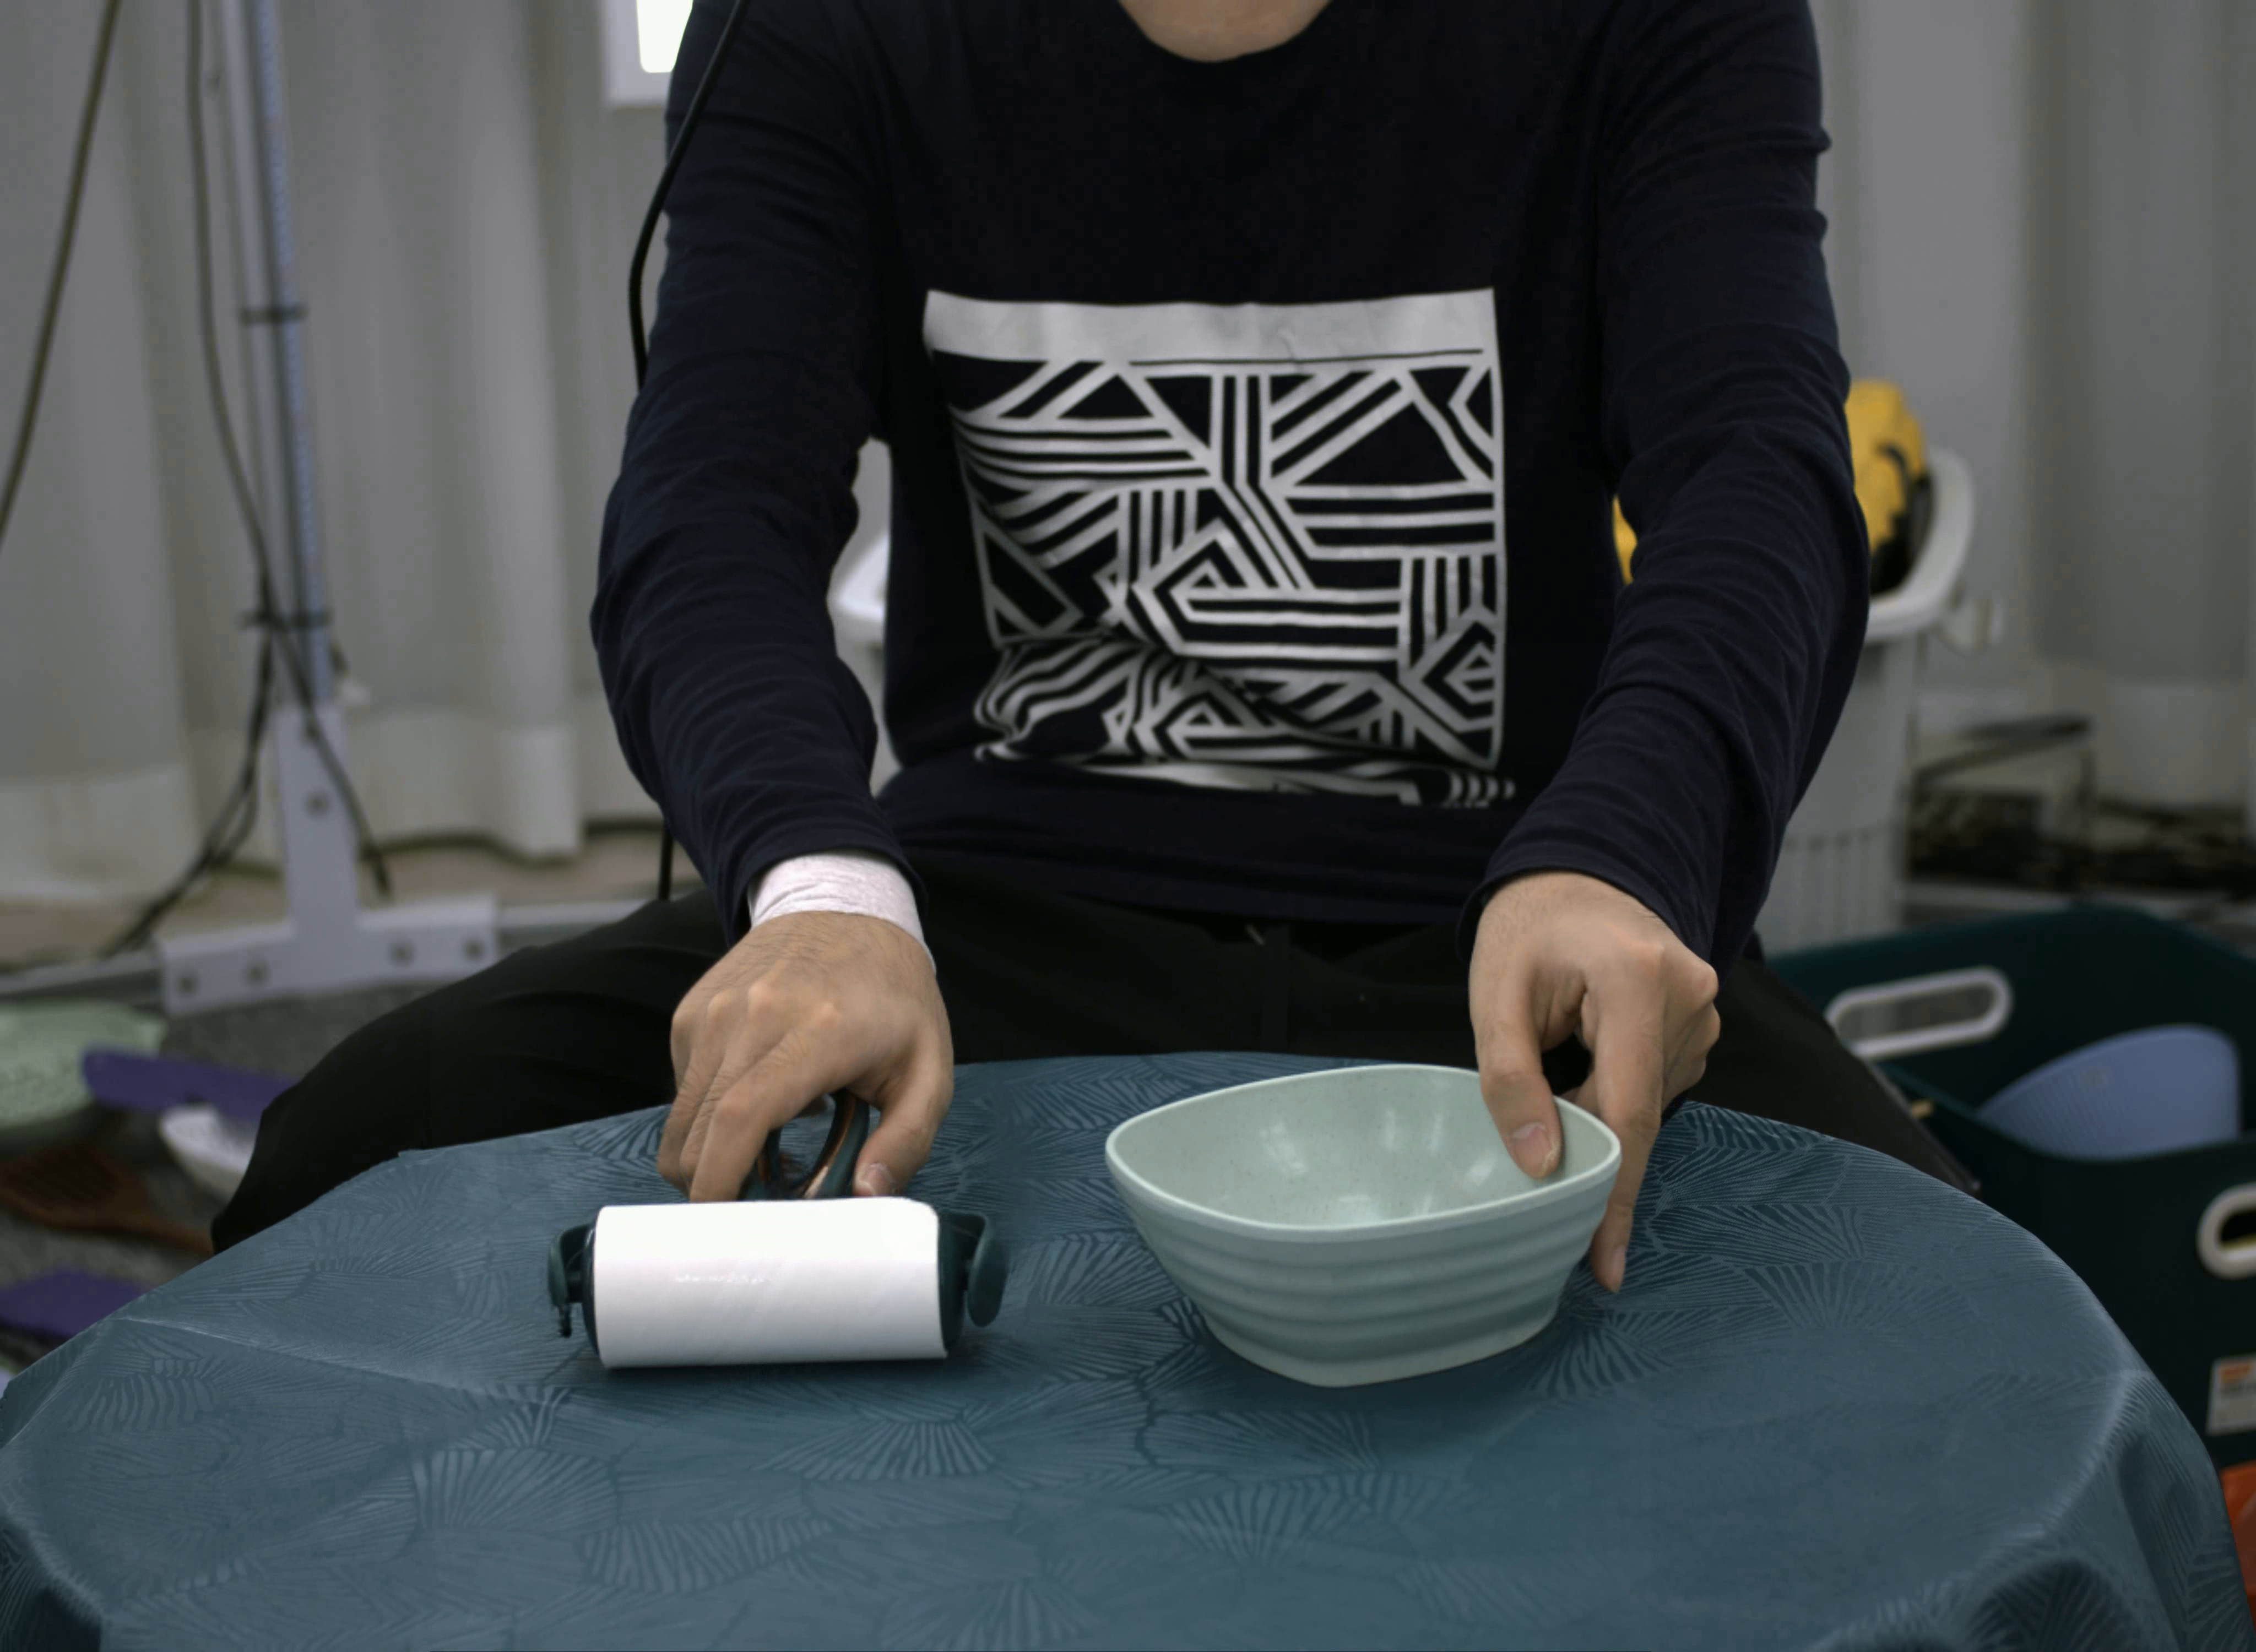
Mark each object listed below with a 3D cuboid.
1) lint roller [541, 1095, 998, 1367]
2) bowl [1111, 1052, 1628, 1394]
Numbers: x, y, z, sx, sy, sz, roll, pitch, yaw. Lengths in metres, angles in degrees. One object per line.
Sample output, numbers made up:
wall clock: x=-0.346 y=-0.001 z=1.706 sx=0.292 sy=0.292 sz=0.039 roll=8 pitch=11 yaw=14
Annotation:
lint roller: x=-0.101 y=0.104 z=1.640 sx=0.134 sy=0.048 sz=0.182 roll=-2 pitch=24 yaw=2
bowl: x=0.070 y=0.118 z=1.580 sx=0.151 sy=0.058 sz=0.152 roll=-2 pitch=17 yaw=0
